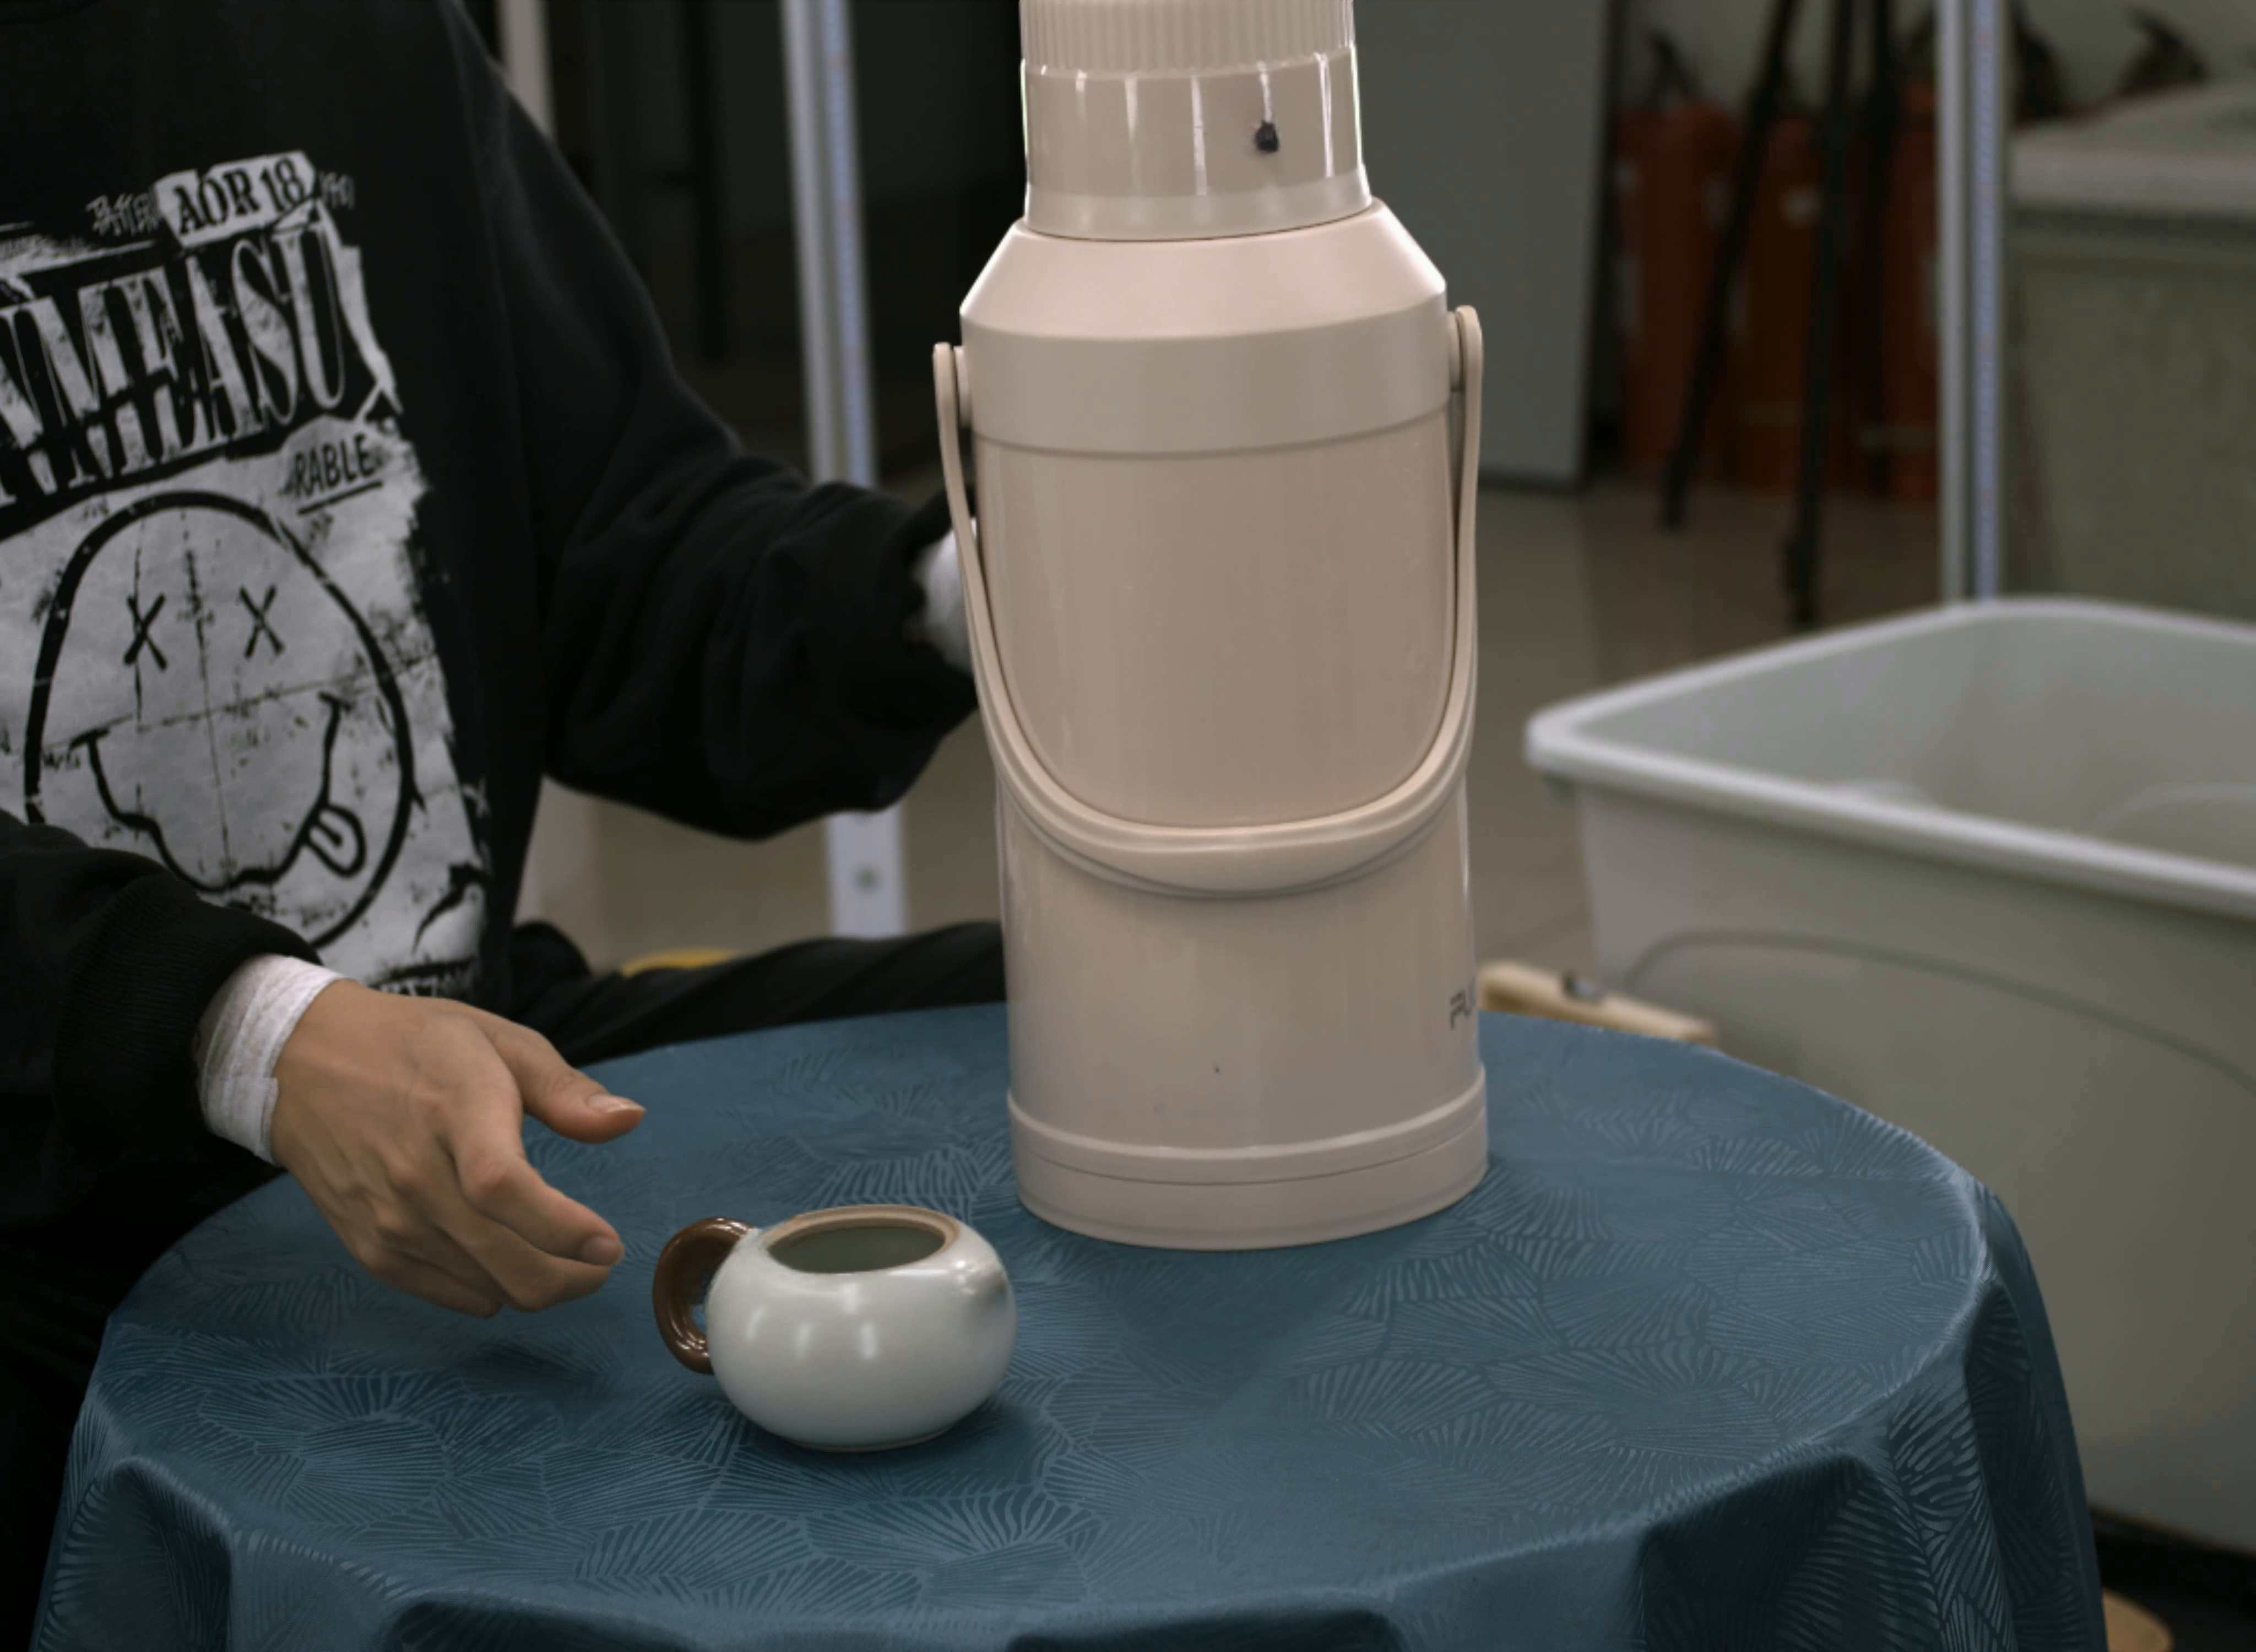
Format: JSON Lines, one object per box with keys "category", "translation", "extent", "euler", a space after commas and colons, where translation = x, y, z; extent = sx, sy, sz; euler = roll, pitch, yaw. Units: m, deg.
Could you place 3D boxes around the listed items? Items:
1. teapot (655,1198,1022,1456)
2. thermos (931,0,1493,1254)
{"category": "teapot", "translation": [-0.085, 0.145, 1.580], "extent": [0.128, 0.060, 0.090], "euler": [5, 21, 29]}
{"category": "thermos", "translation": [0.029, -0.081, 1.751], "extent": [0.173, 0.410, 0.208], "euler": [-6, 14, -3]}
